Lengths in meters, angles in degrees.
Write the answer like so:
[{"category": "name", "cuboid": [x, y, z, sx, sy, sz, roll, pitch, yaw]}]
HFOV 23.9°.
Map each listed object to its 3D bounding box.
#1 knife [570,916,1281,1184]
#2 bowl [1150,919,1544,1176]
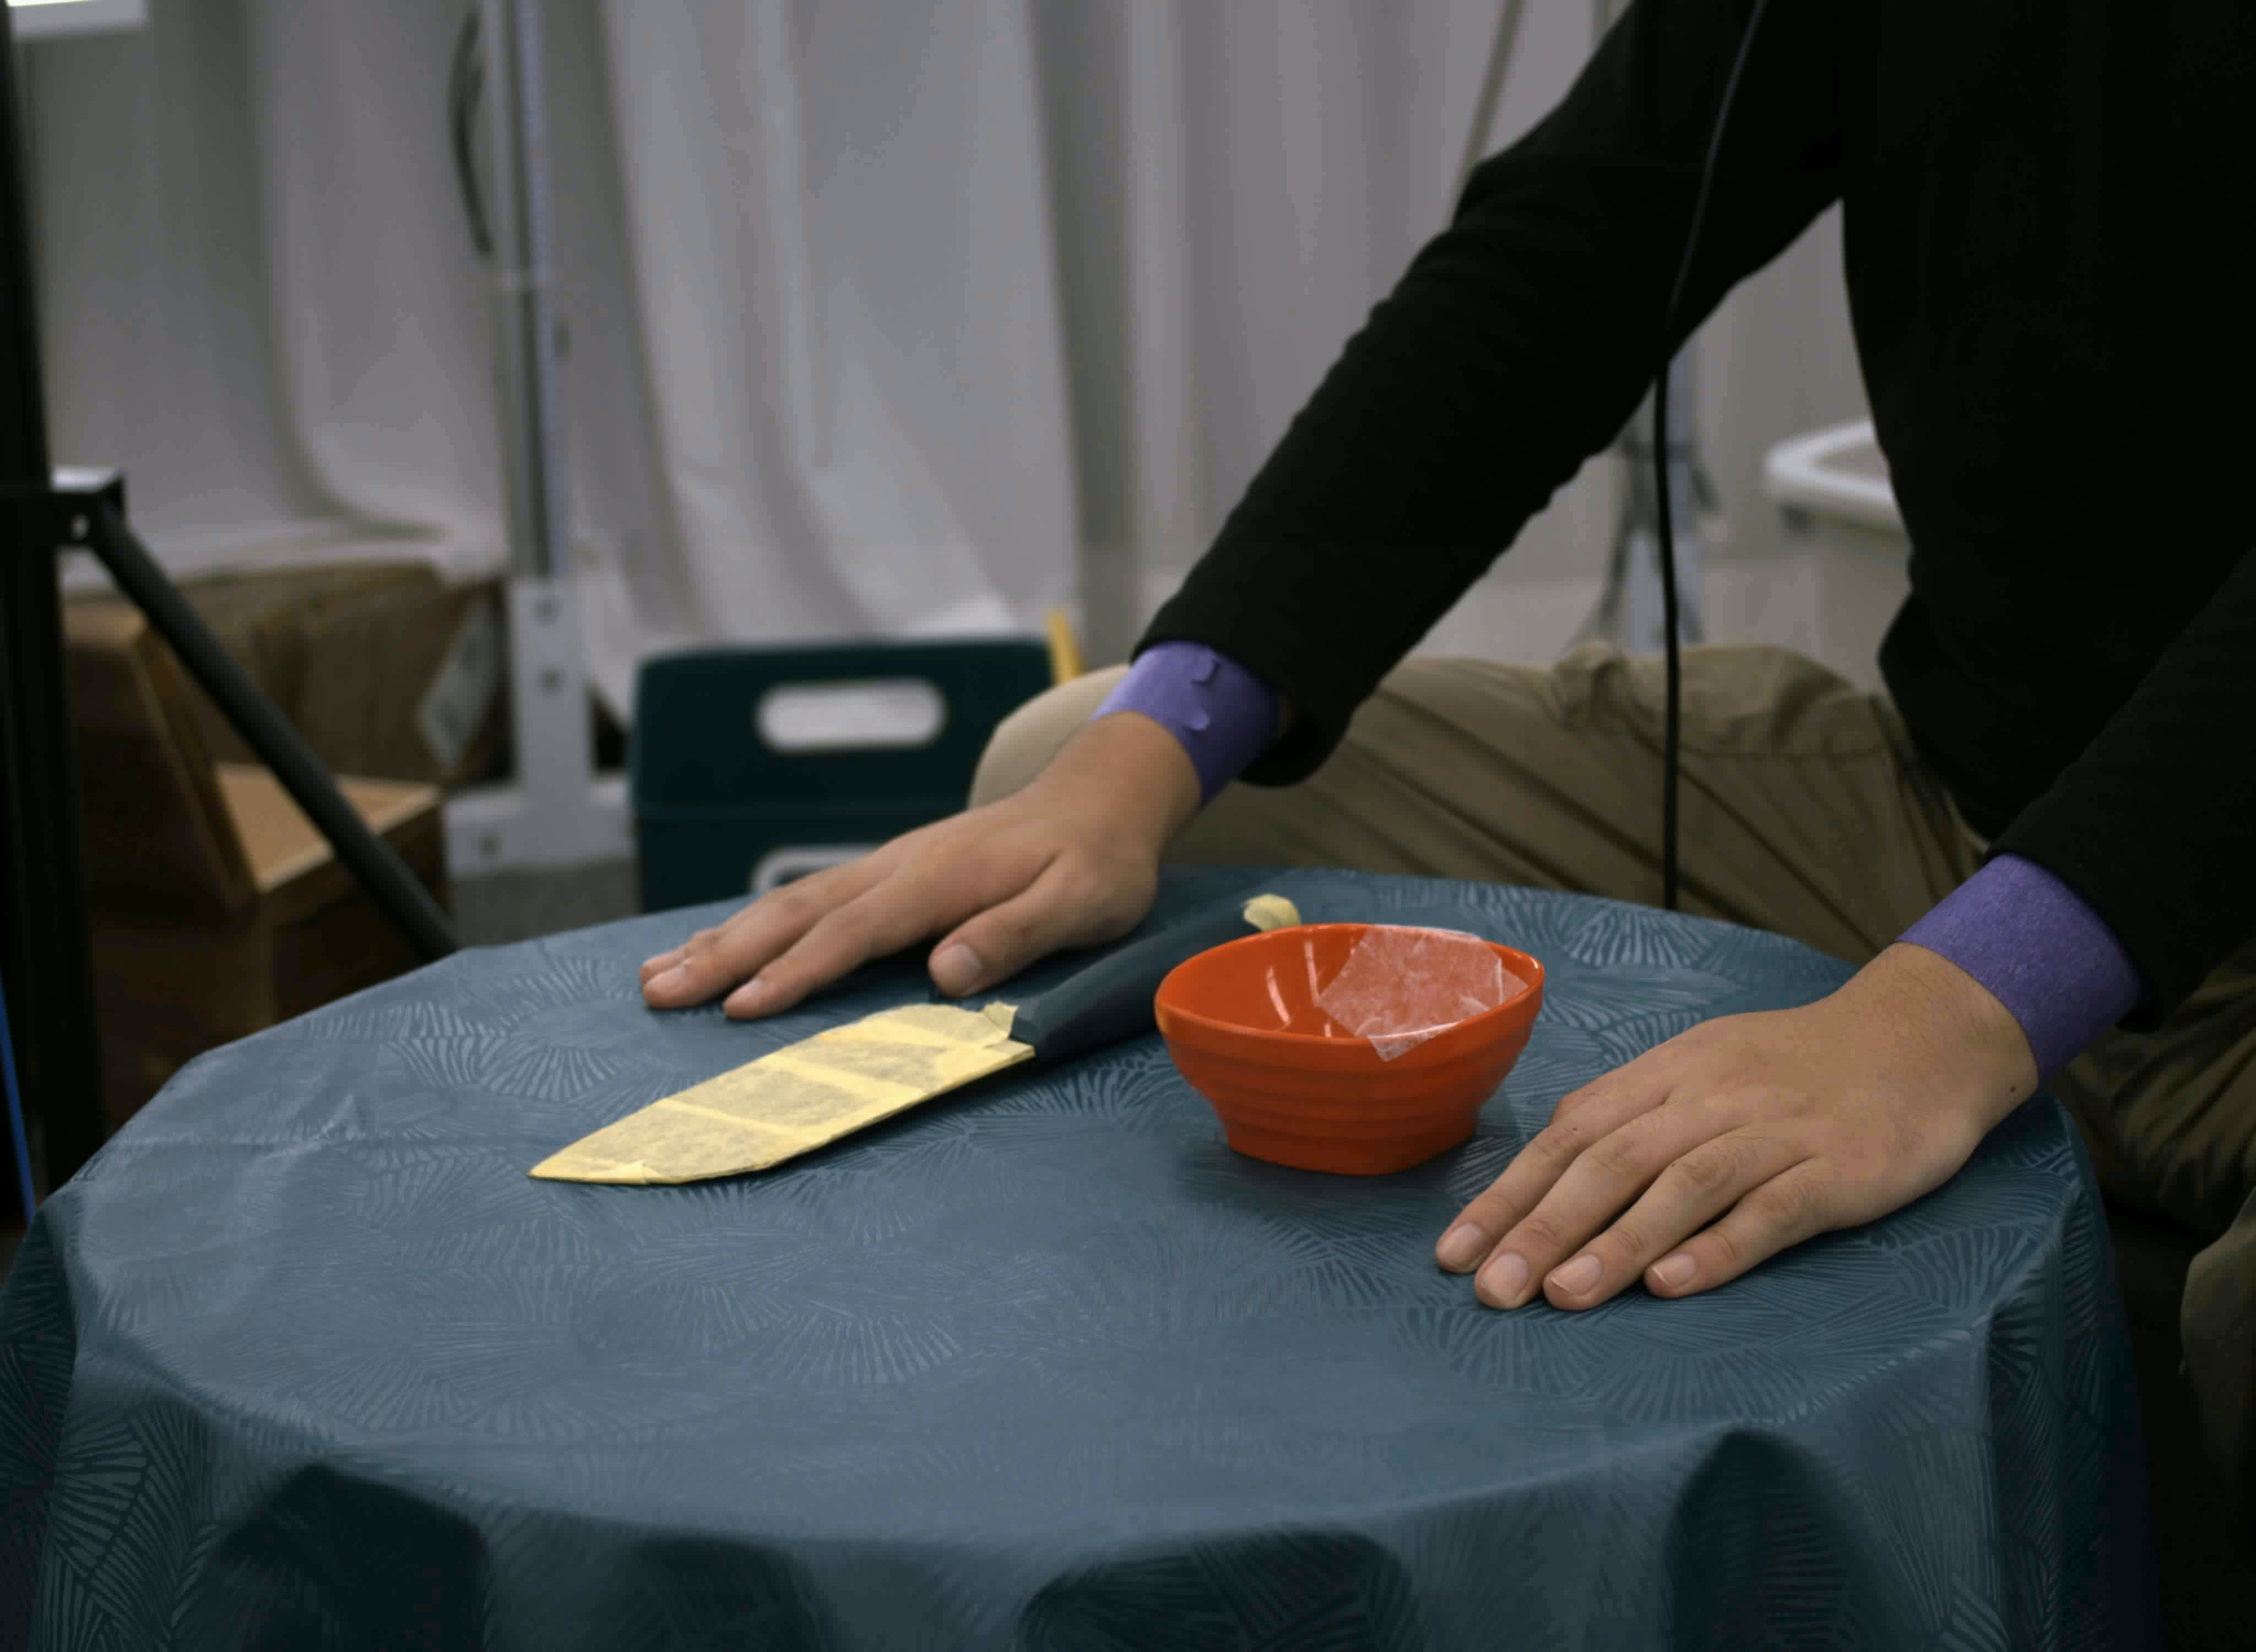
[{"category": "knife", "cuboid": [-0.060, 0.070, 1.673, 0.283, 0.027, 0.083, -18, 23, -39]}, {"category": "bowl", "cuboid": [0.067, 0.069, 1.587, 0.118, 0.051, 0.119, -5, 16, 0]}]
